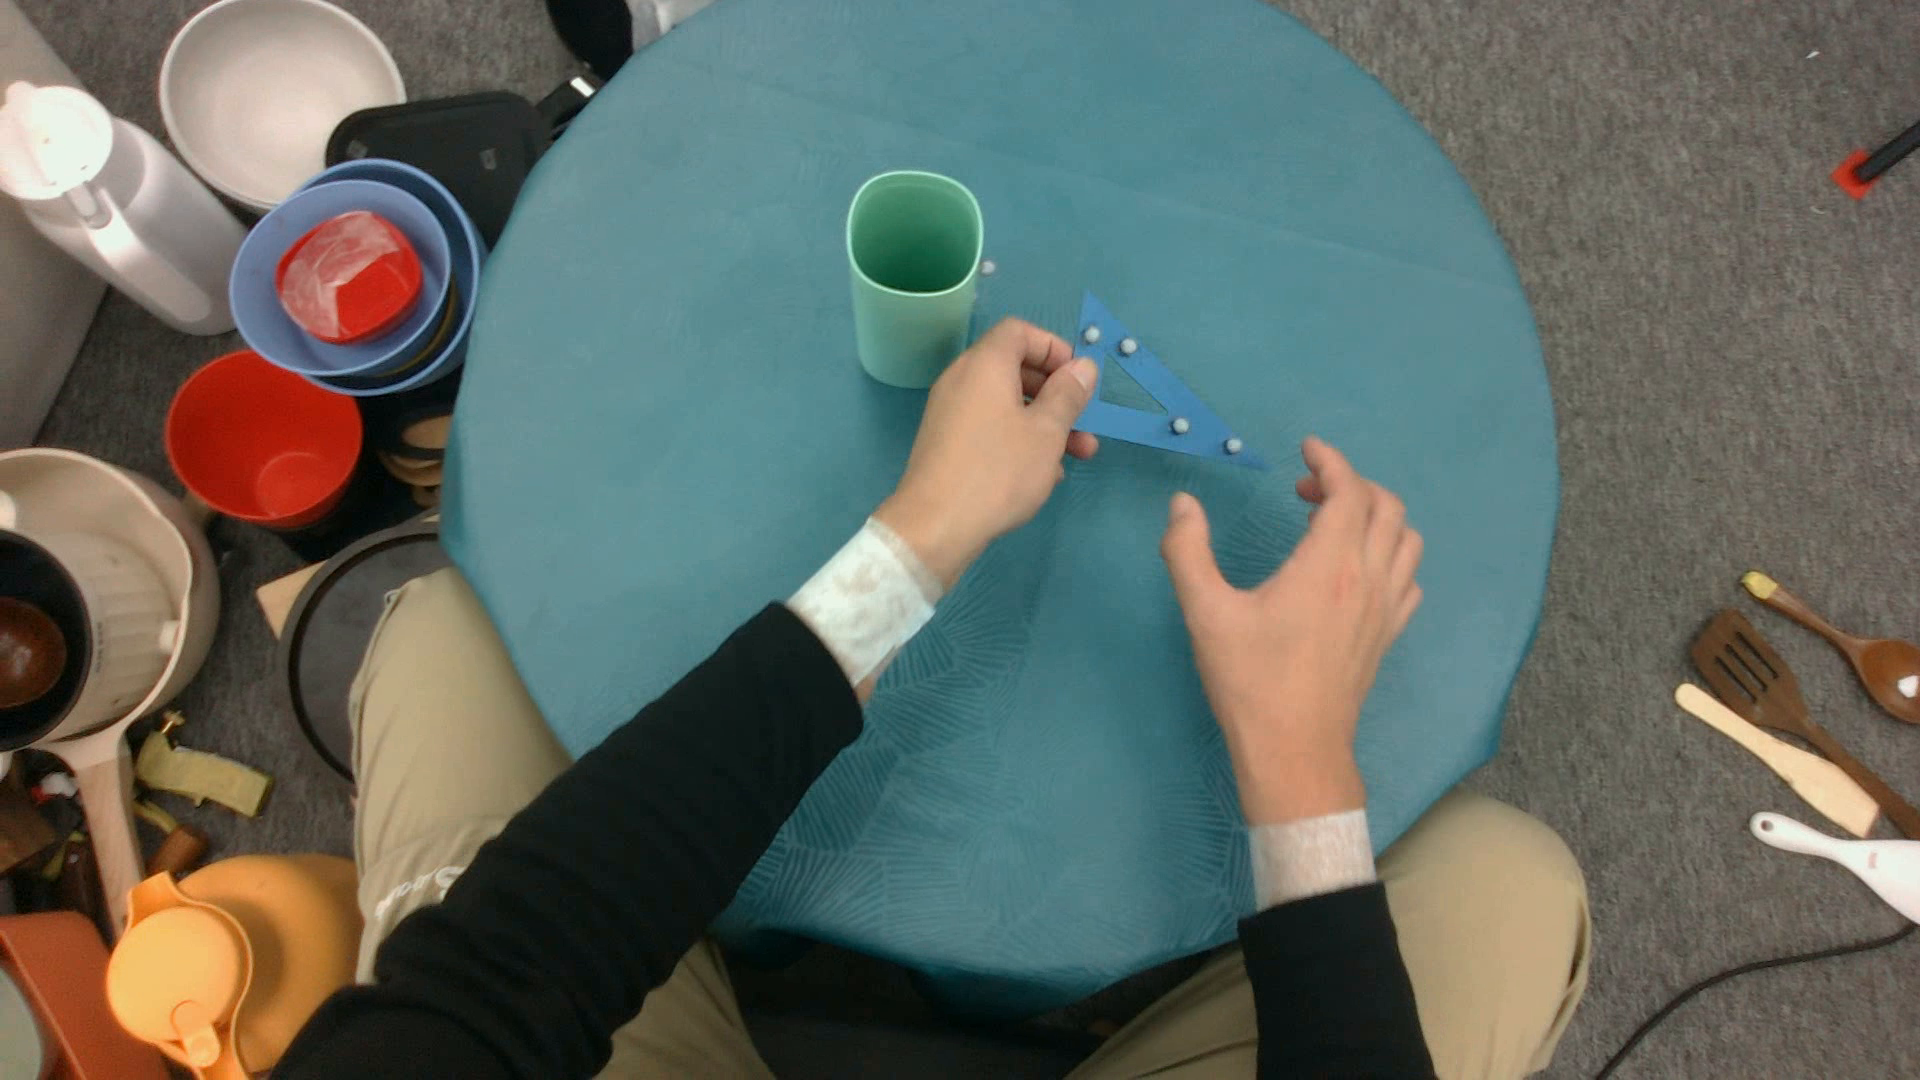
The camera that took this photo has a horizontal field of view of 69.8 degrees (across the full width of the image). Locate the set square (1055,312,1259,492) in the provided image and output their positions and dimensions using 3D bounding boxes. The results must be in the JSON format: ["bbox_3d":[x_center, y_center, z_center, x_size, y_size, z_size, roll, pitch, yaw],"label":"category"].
[{"bbox_3d":[0.092,-0.052,0.689,0.132,0.006,0.061,39,75,-12],"label":"set square"}]

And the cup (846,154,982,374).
[{"bbox_3d":[-0.025,-0.134,0.698,0.067,0.132,0.067,1,77,-4],"label":"cup"}]
